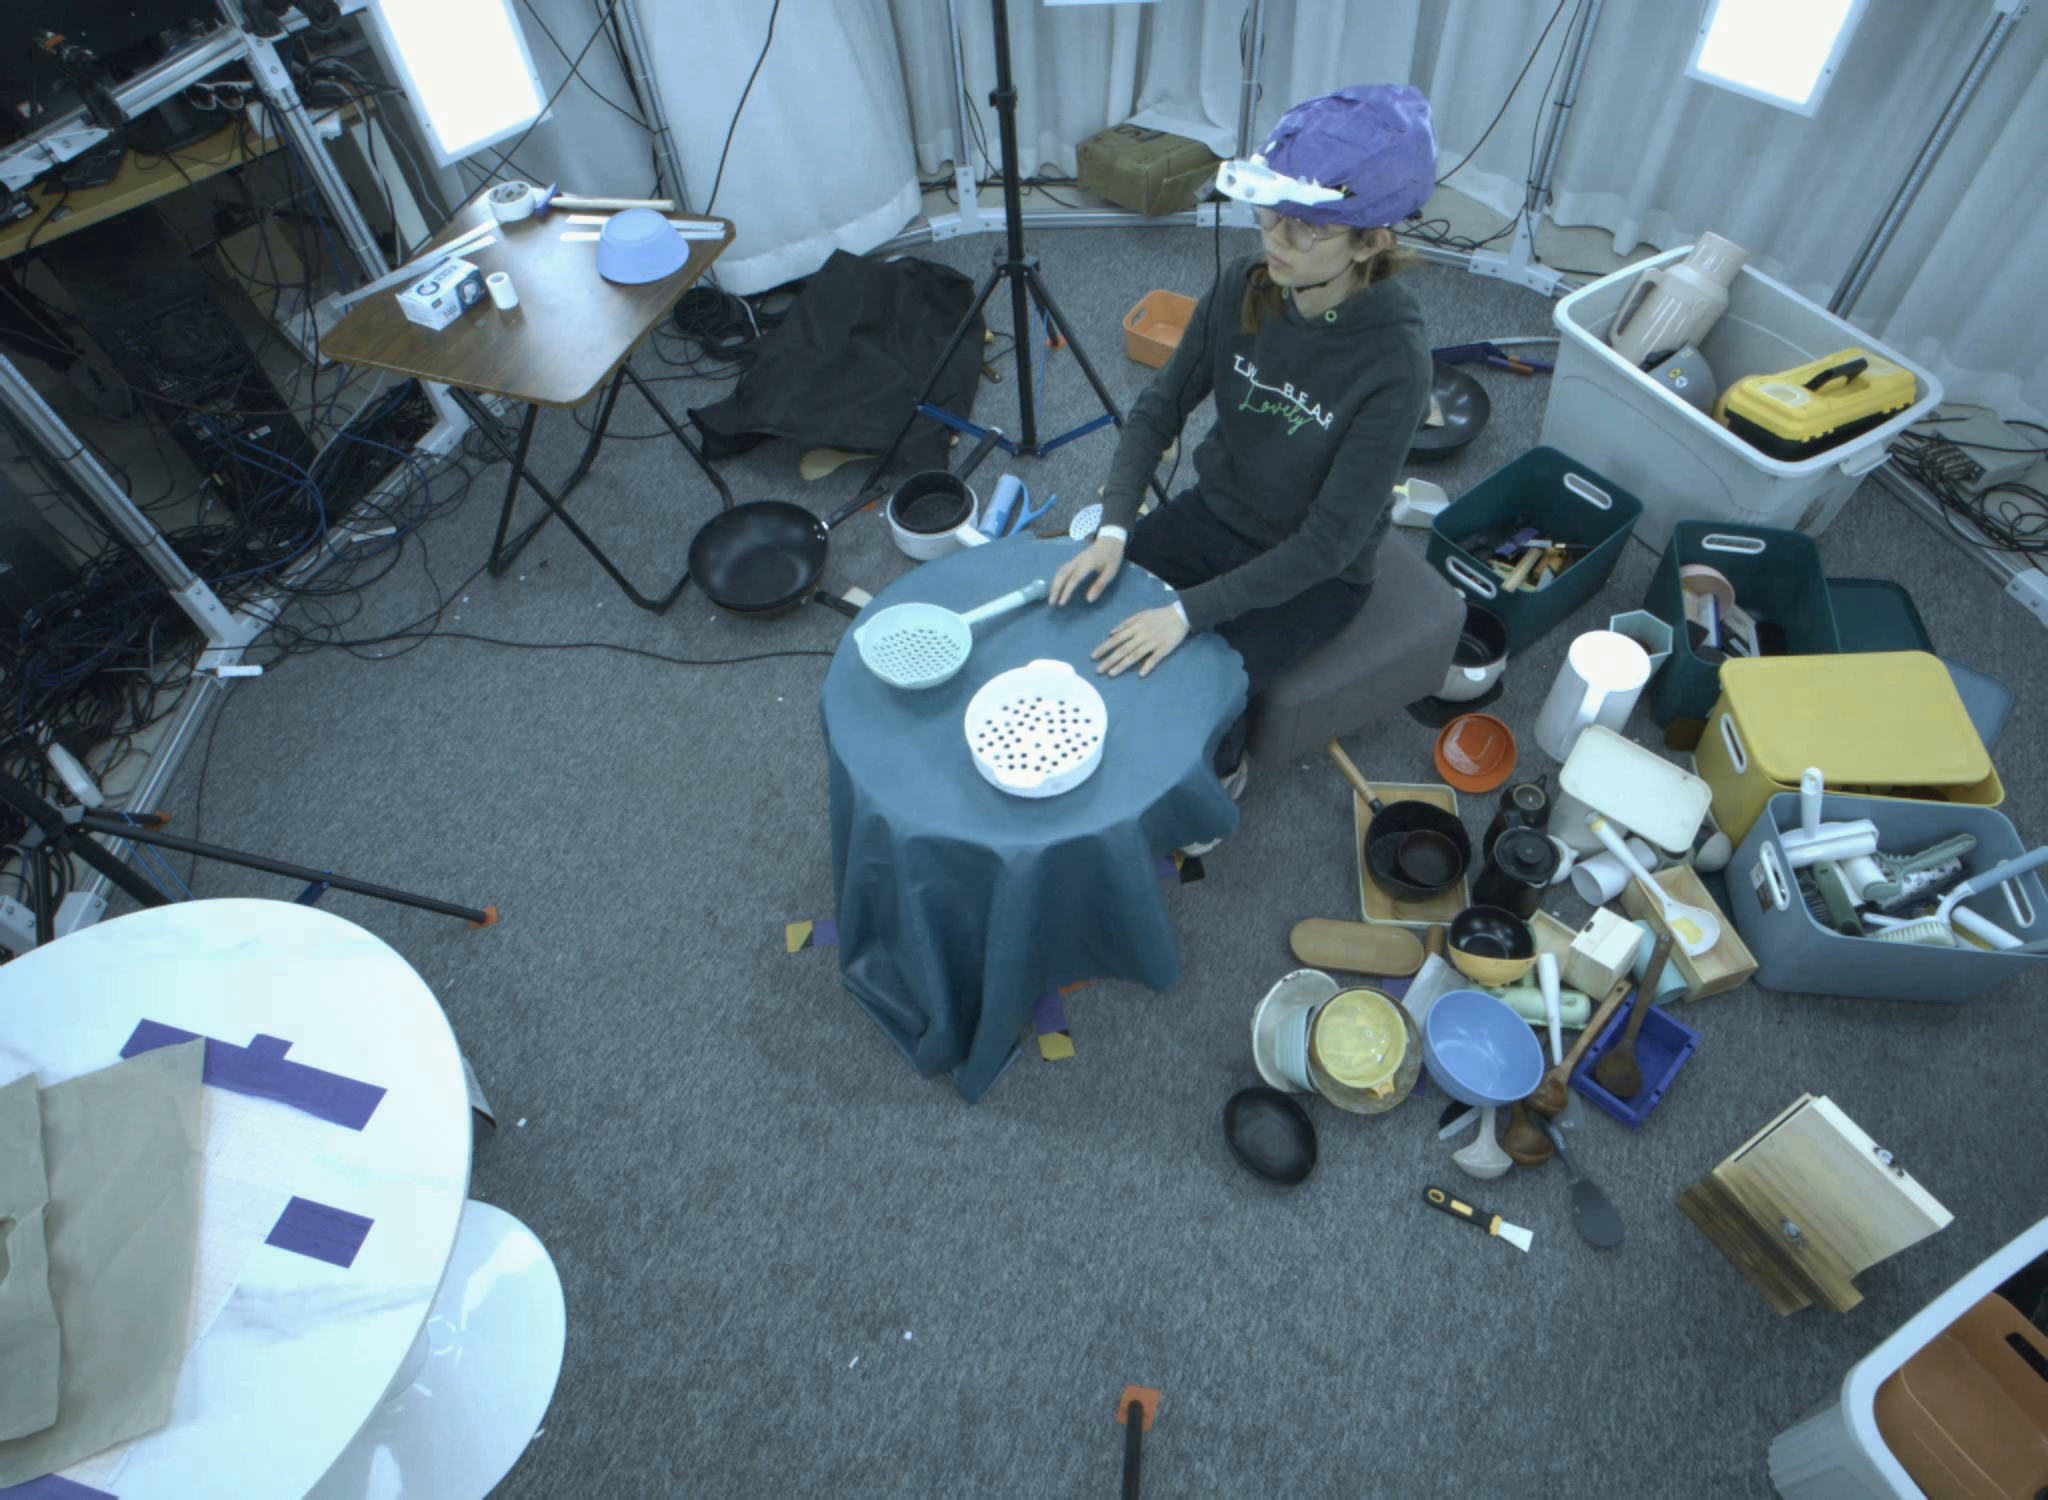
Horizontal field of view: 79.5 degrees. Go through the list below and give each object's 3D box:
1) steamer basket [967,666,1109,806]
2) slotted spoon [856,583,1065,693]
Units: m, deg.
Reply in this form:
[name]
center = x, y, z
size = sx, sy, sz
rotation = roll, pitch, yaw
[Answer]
[steamer basket]
center = 0.021, -0.014, 1.767
size = 0.201, 0.070, 0.229
rotation = 9, 56, 8
[slotted spoon]
center = -0.084, -0.192, 1.896
size = 0.362, 0.076, 0.166
rotation = -32, 59, -19
